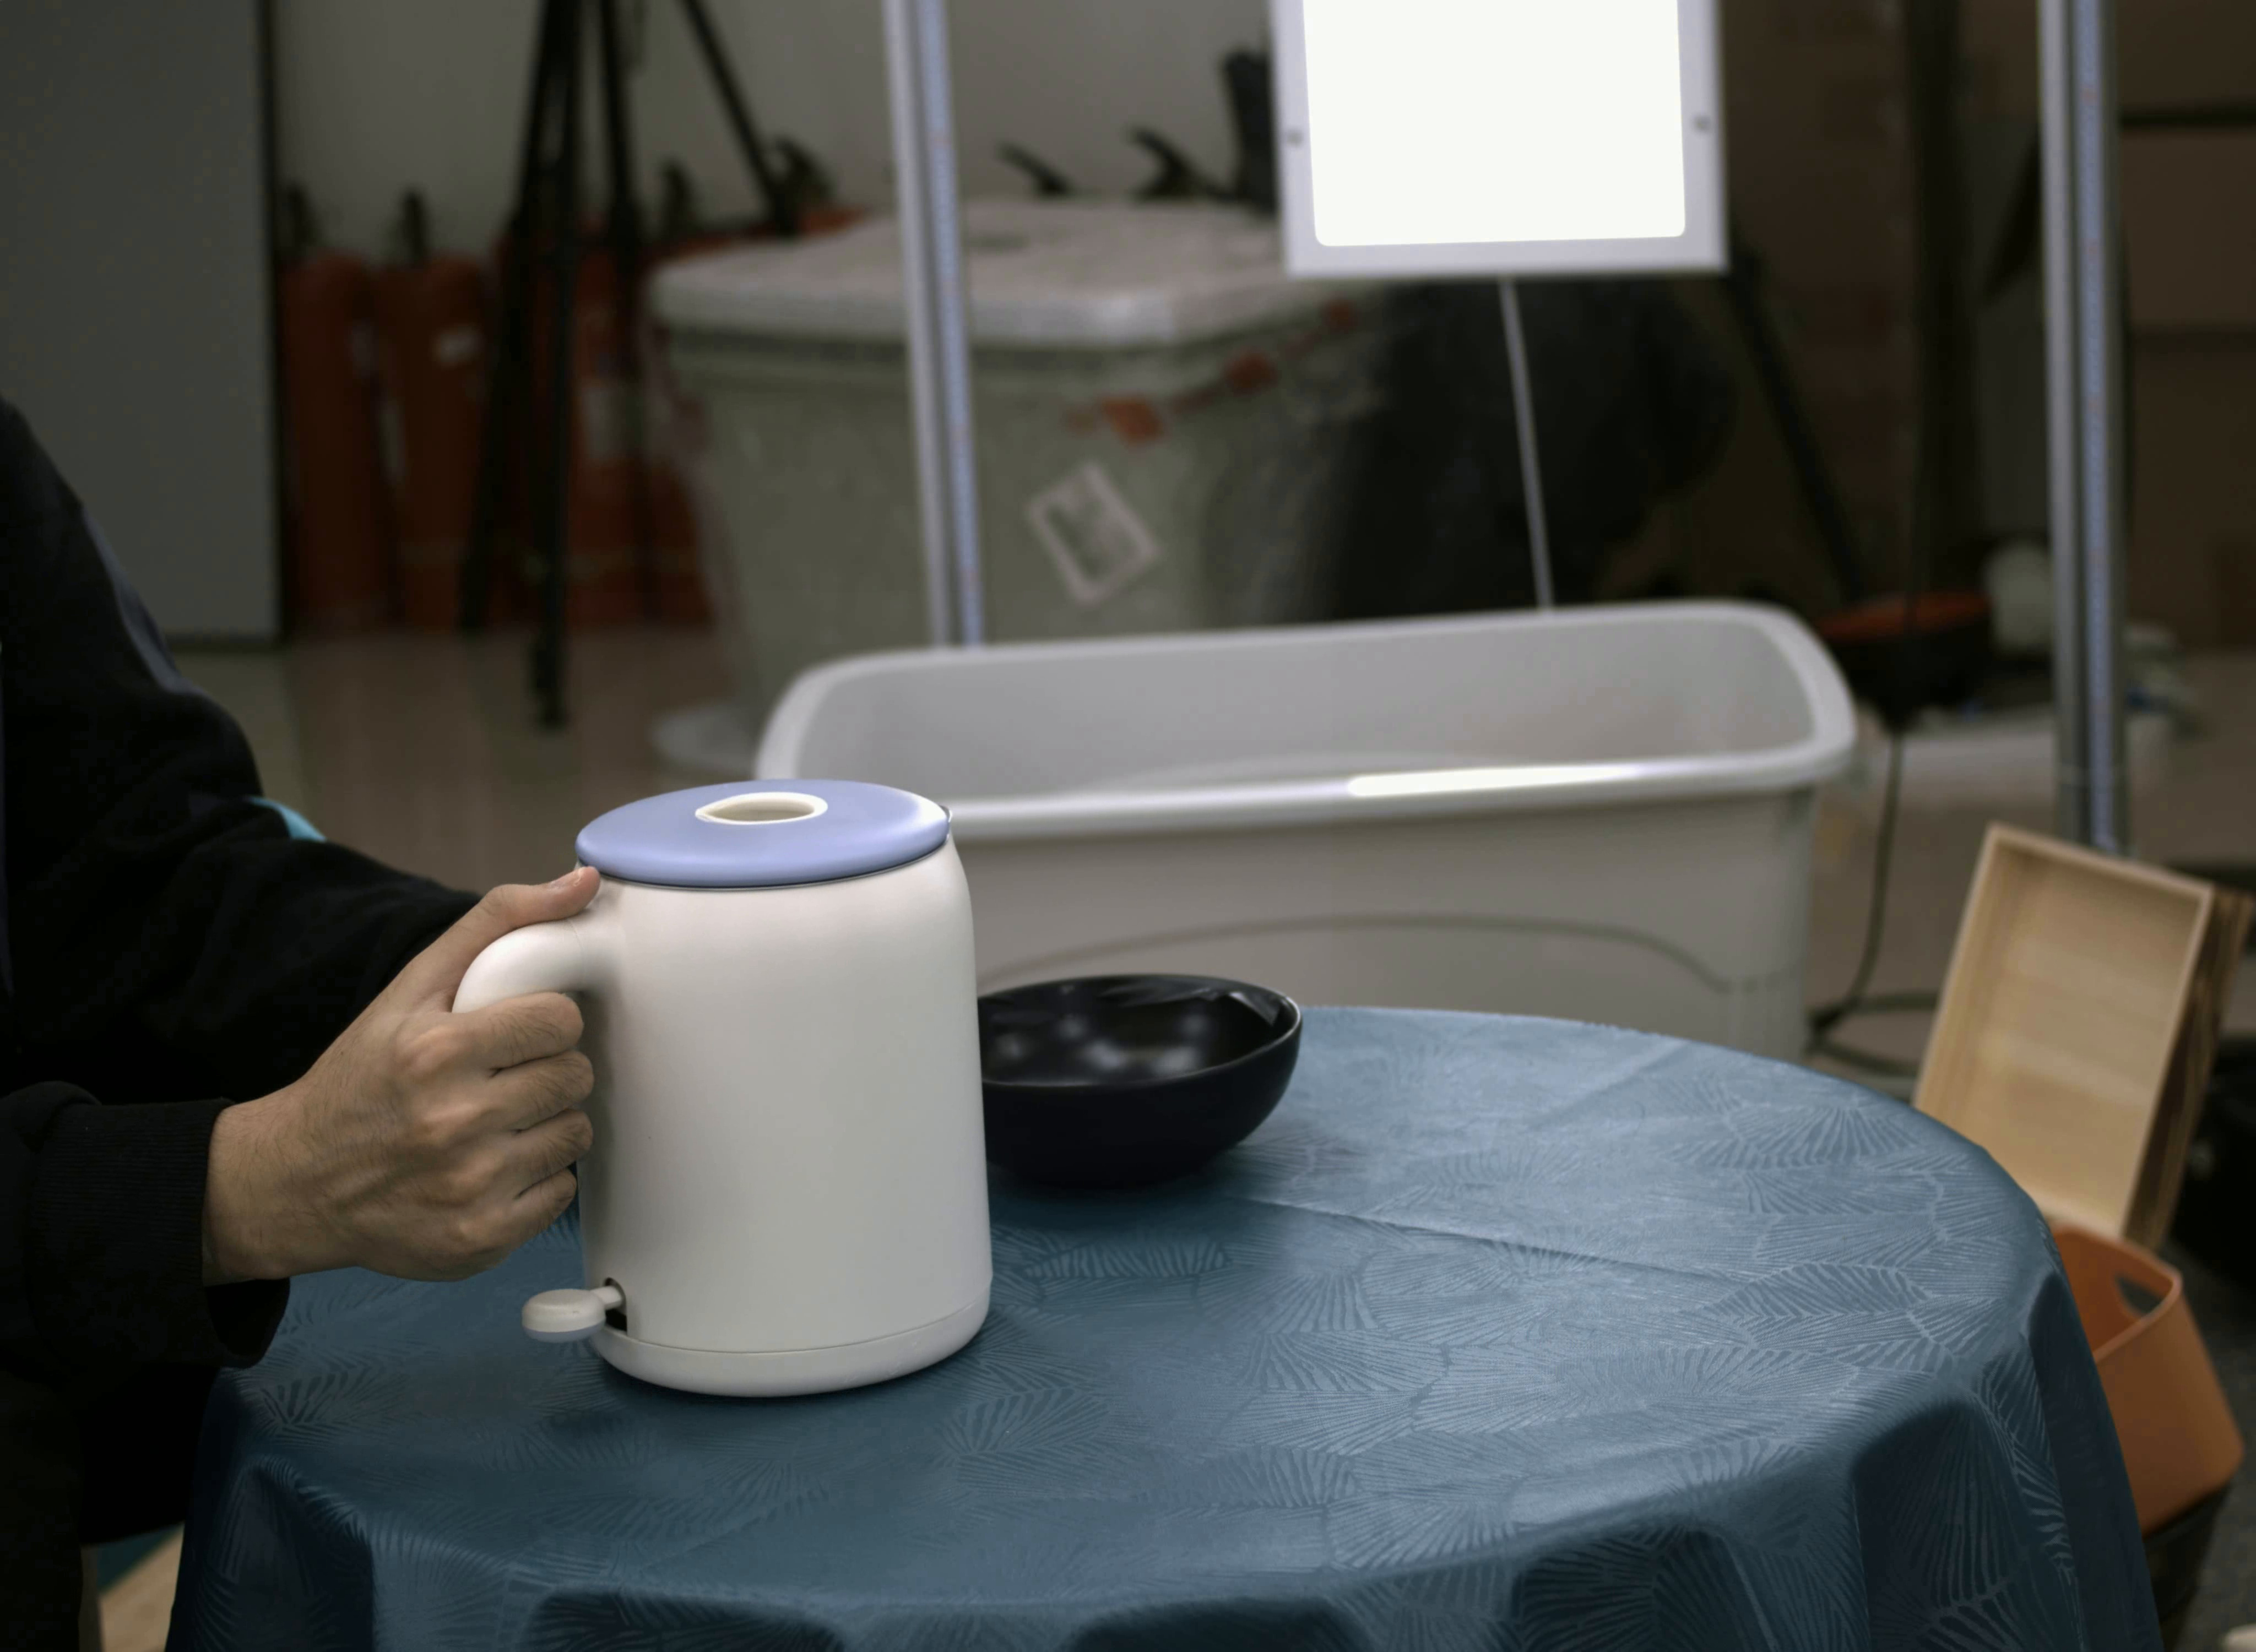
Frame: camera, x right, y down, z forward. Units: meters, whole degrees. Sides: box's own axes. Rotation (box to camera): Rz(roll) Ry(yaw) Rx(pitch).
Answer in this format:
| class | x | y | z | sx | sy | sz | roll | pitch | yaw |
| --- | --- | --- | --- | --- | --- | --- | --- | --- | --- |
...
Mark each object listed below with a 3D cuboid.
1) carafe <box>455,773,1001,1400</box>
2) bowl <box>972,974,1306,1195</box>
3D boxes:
| class | x | y | z | sx | sy | sz | roll | pitch | yaw |
| --- | --- | --- | --- | --- | --- | --- | --- | --- | --- |
| carafe | -0.130 | 0.087 | 1.740 | 0.186 | 0.183 | 0.135 | -15 | 17 | -33 |
| bowl | -0.005 | 0.095 | 1.926 | 0.140 | 0.050 | 0.140 | -7 | 14 | 0 |
